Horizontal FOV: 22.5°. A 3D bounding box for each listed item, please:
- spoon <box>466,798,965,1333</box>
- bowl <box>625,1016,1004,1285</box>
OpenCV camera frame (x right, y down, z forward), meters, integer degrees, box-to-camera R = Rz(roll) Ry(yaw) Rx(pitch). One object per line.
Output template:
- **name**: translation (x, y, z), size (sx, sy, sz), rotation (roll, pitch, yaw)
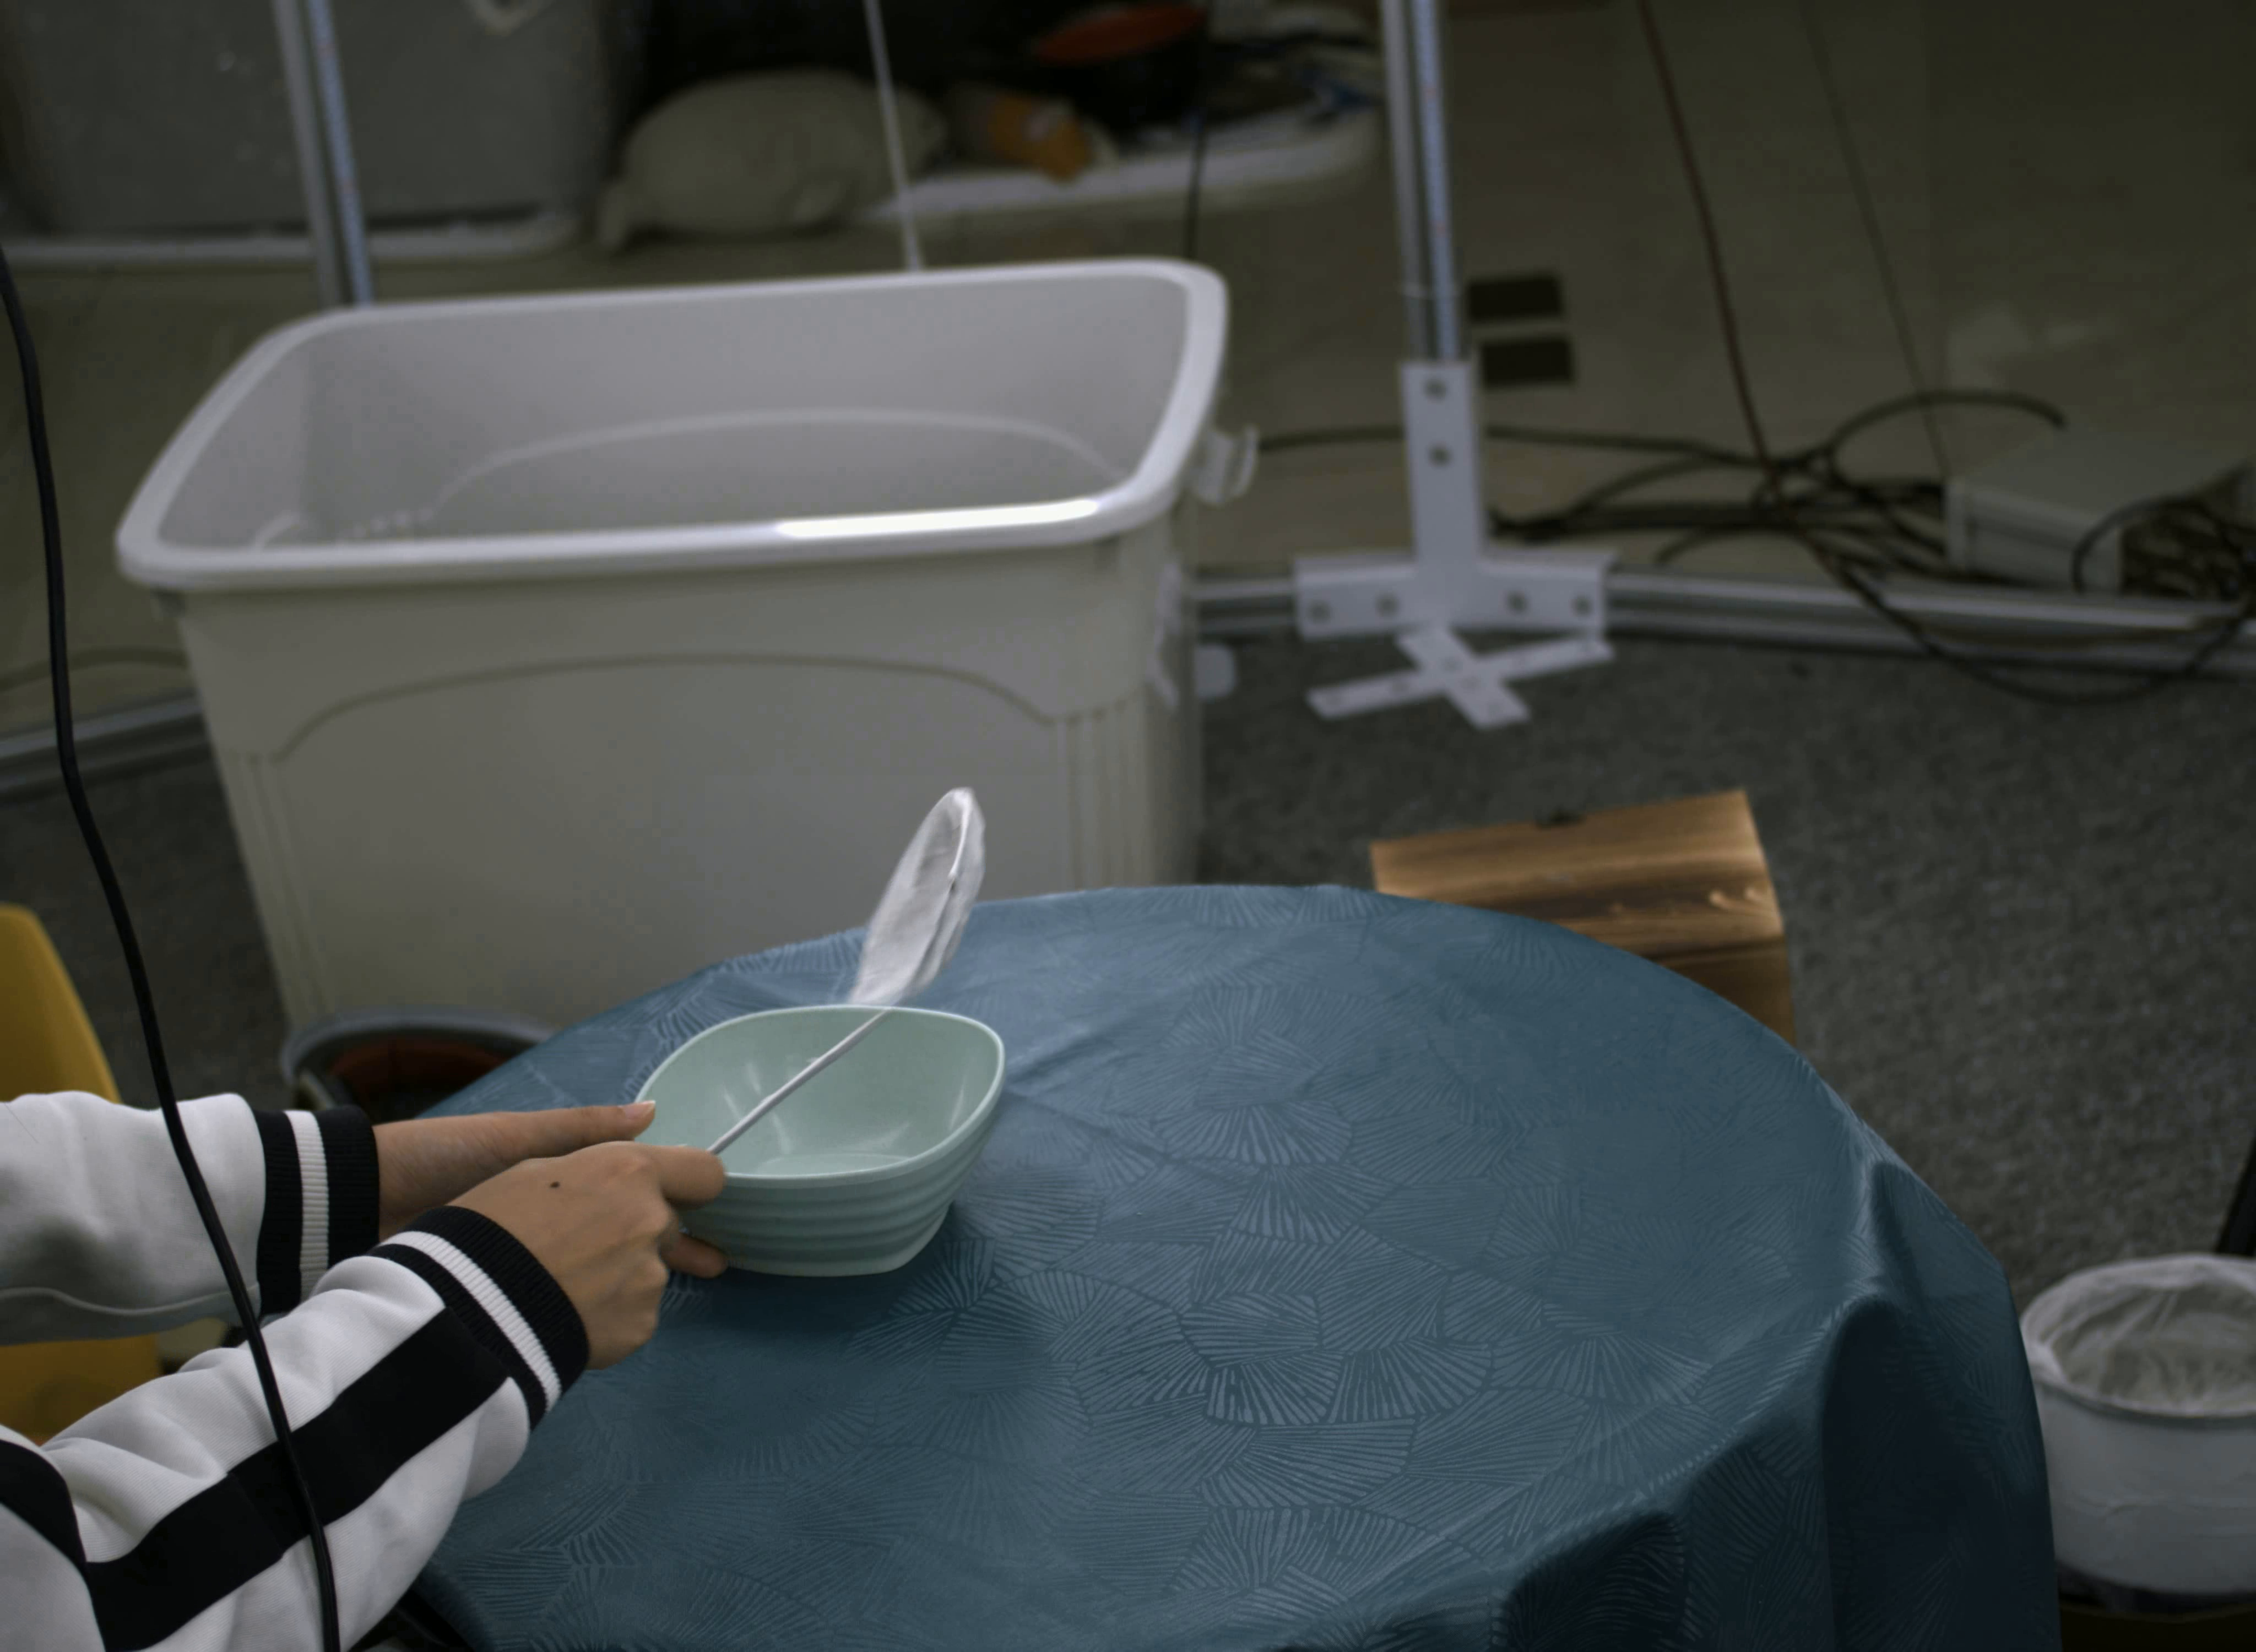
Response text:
- **spoon**: translation (-0.149, 0.084, 1.994), size (0.274, 0.102, 0.059), rotation (-37, 82, -34)
- **bowl**: translation (-0.114, 0.127, 2.139), size (0.151, 0.059, 0.149), rotation (-6, 25, 3)
